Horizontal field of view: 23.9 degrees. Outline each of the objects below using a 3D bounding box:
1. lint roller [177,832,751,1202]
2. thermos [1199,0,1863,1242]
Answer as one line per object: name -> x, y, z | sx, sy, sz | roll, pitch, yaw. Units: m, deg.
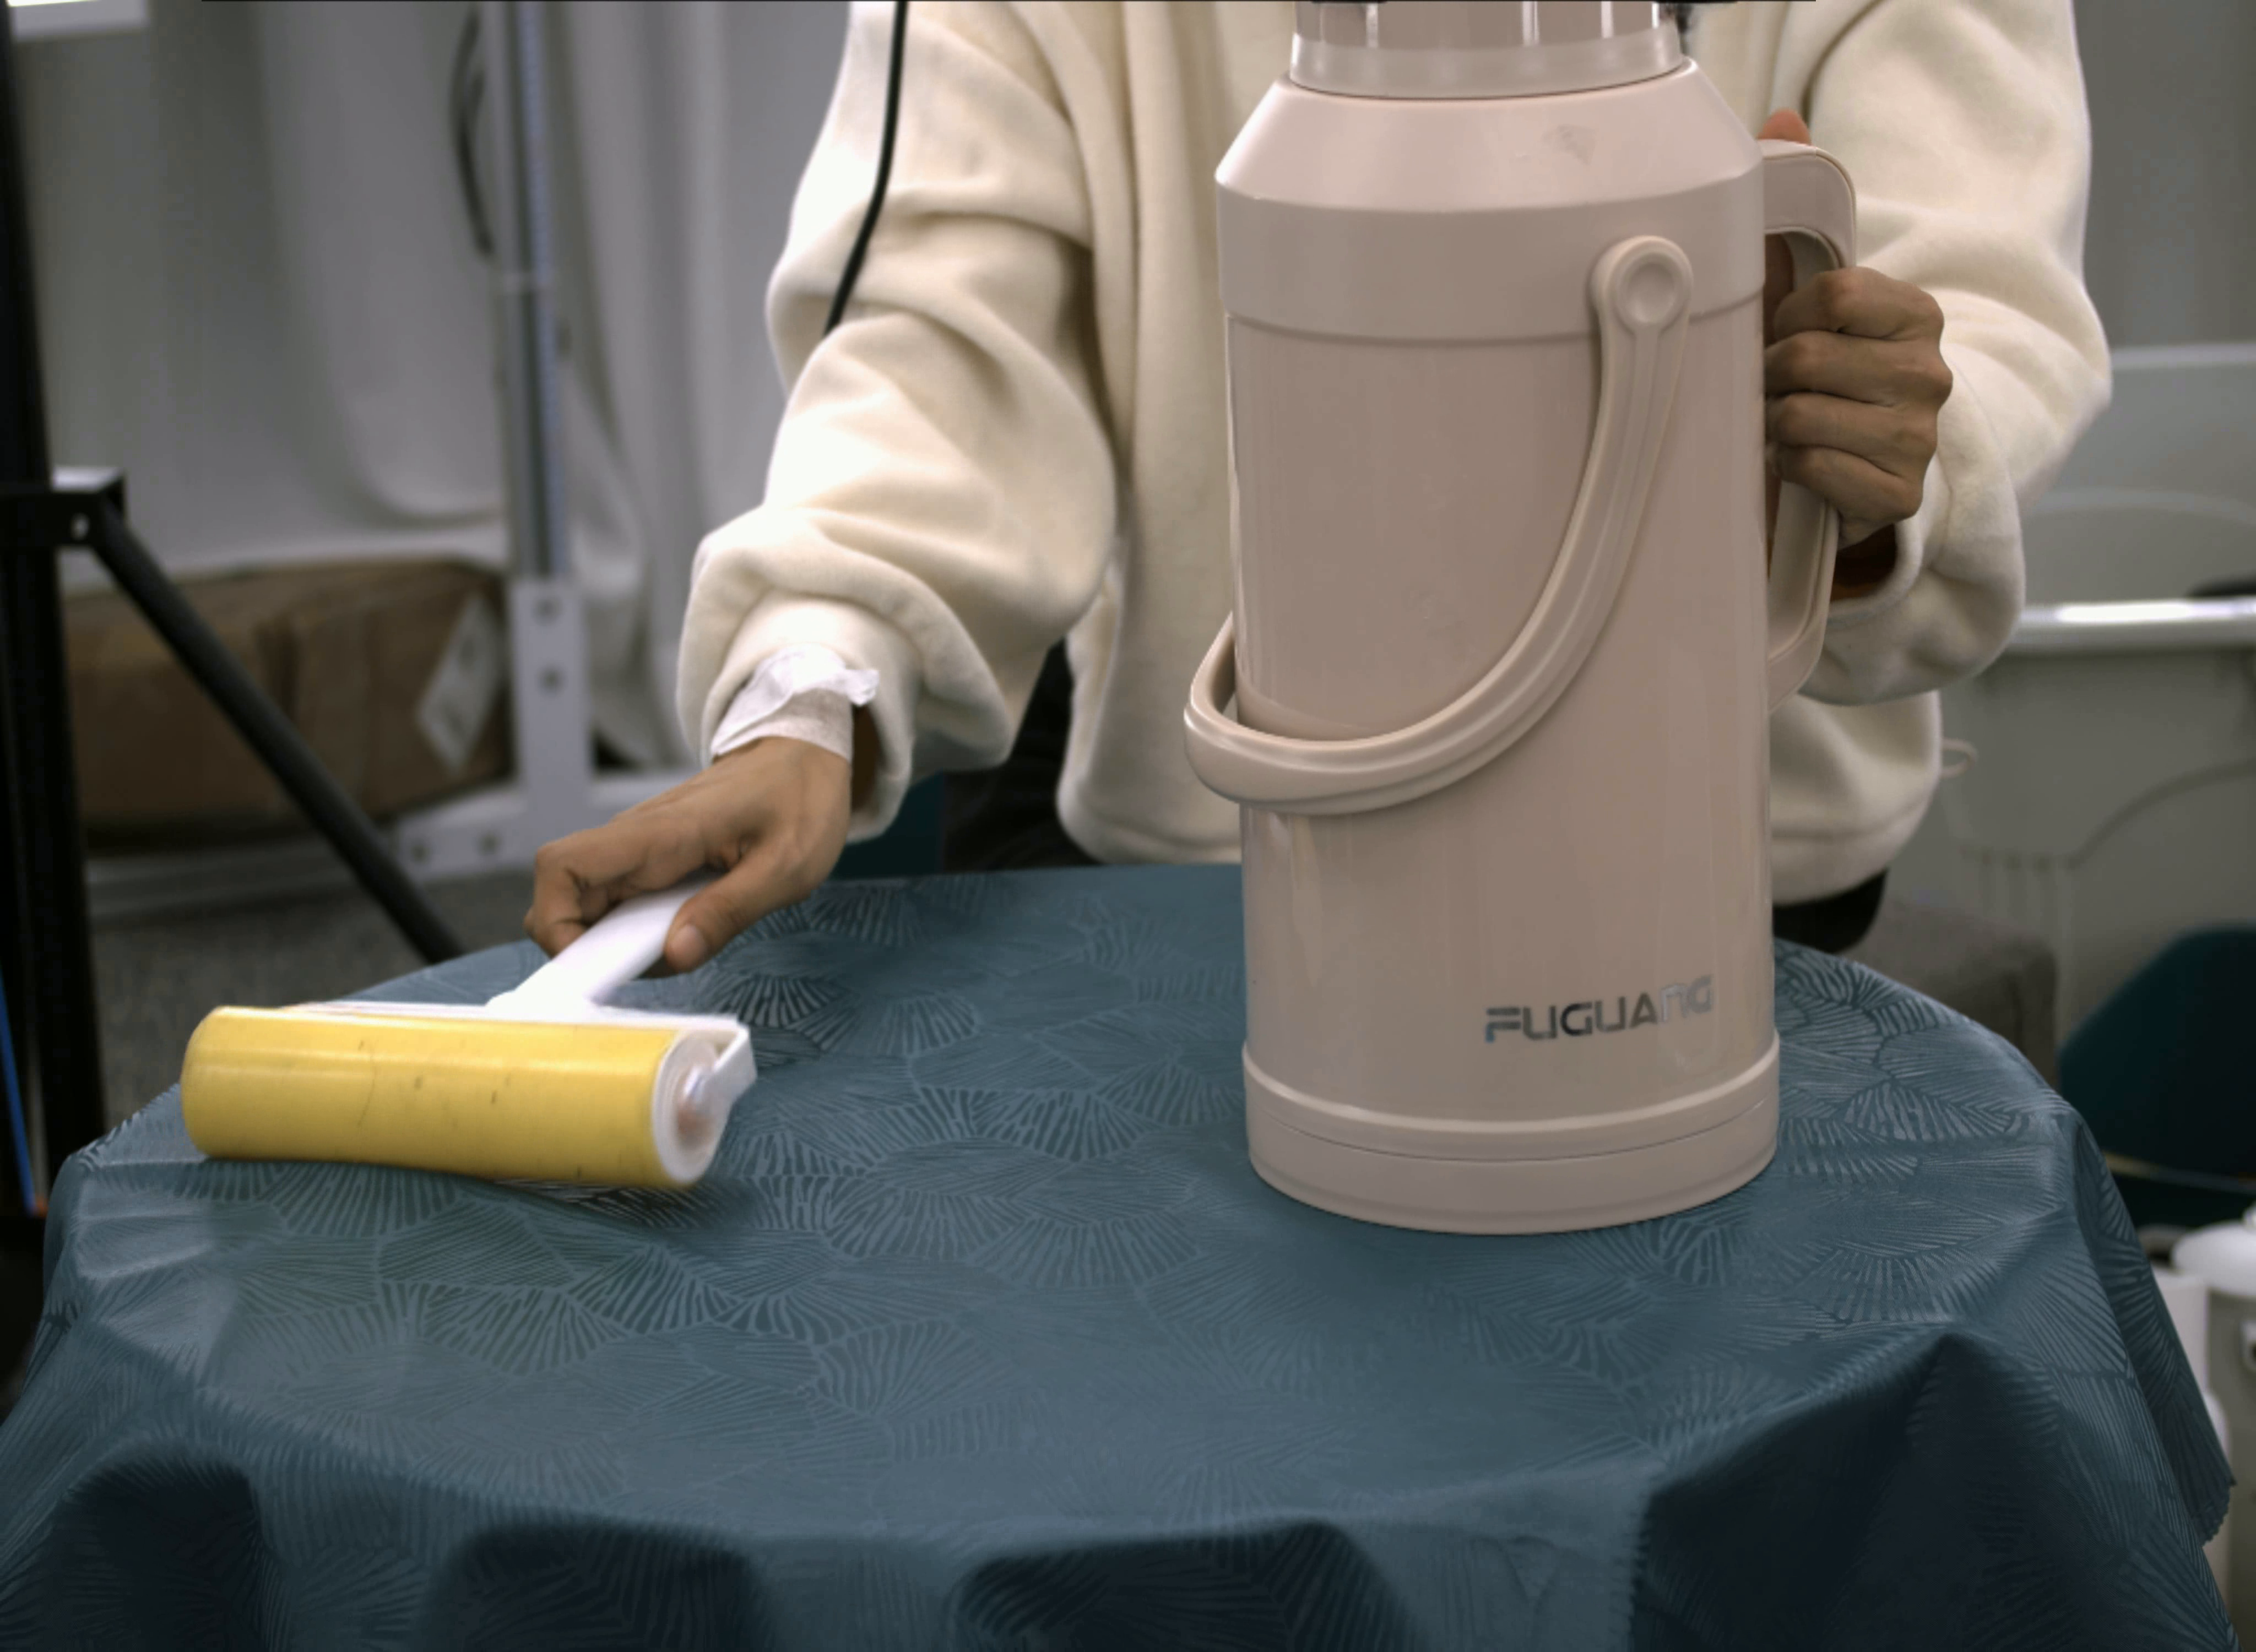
lint roller -> -0.178, 0.044, 1.642 | 0.177, 0.051, 0.191 | 1, 36, 24
thermos -> 0.120, -0.096, 1.533 | 0.203, 0.406, 0.179 | -9, 16, -24
